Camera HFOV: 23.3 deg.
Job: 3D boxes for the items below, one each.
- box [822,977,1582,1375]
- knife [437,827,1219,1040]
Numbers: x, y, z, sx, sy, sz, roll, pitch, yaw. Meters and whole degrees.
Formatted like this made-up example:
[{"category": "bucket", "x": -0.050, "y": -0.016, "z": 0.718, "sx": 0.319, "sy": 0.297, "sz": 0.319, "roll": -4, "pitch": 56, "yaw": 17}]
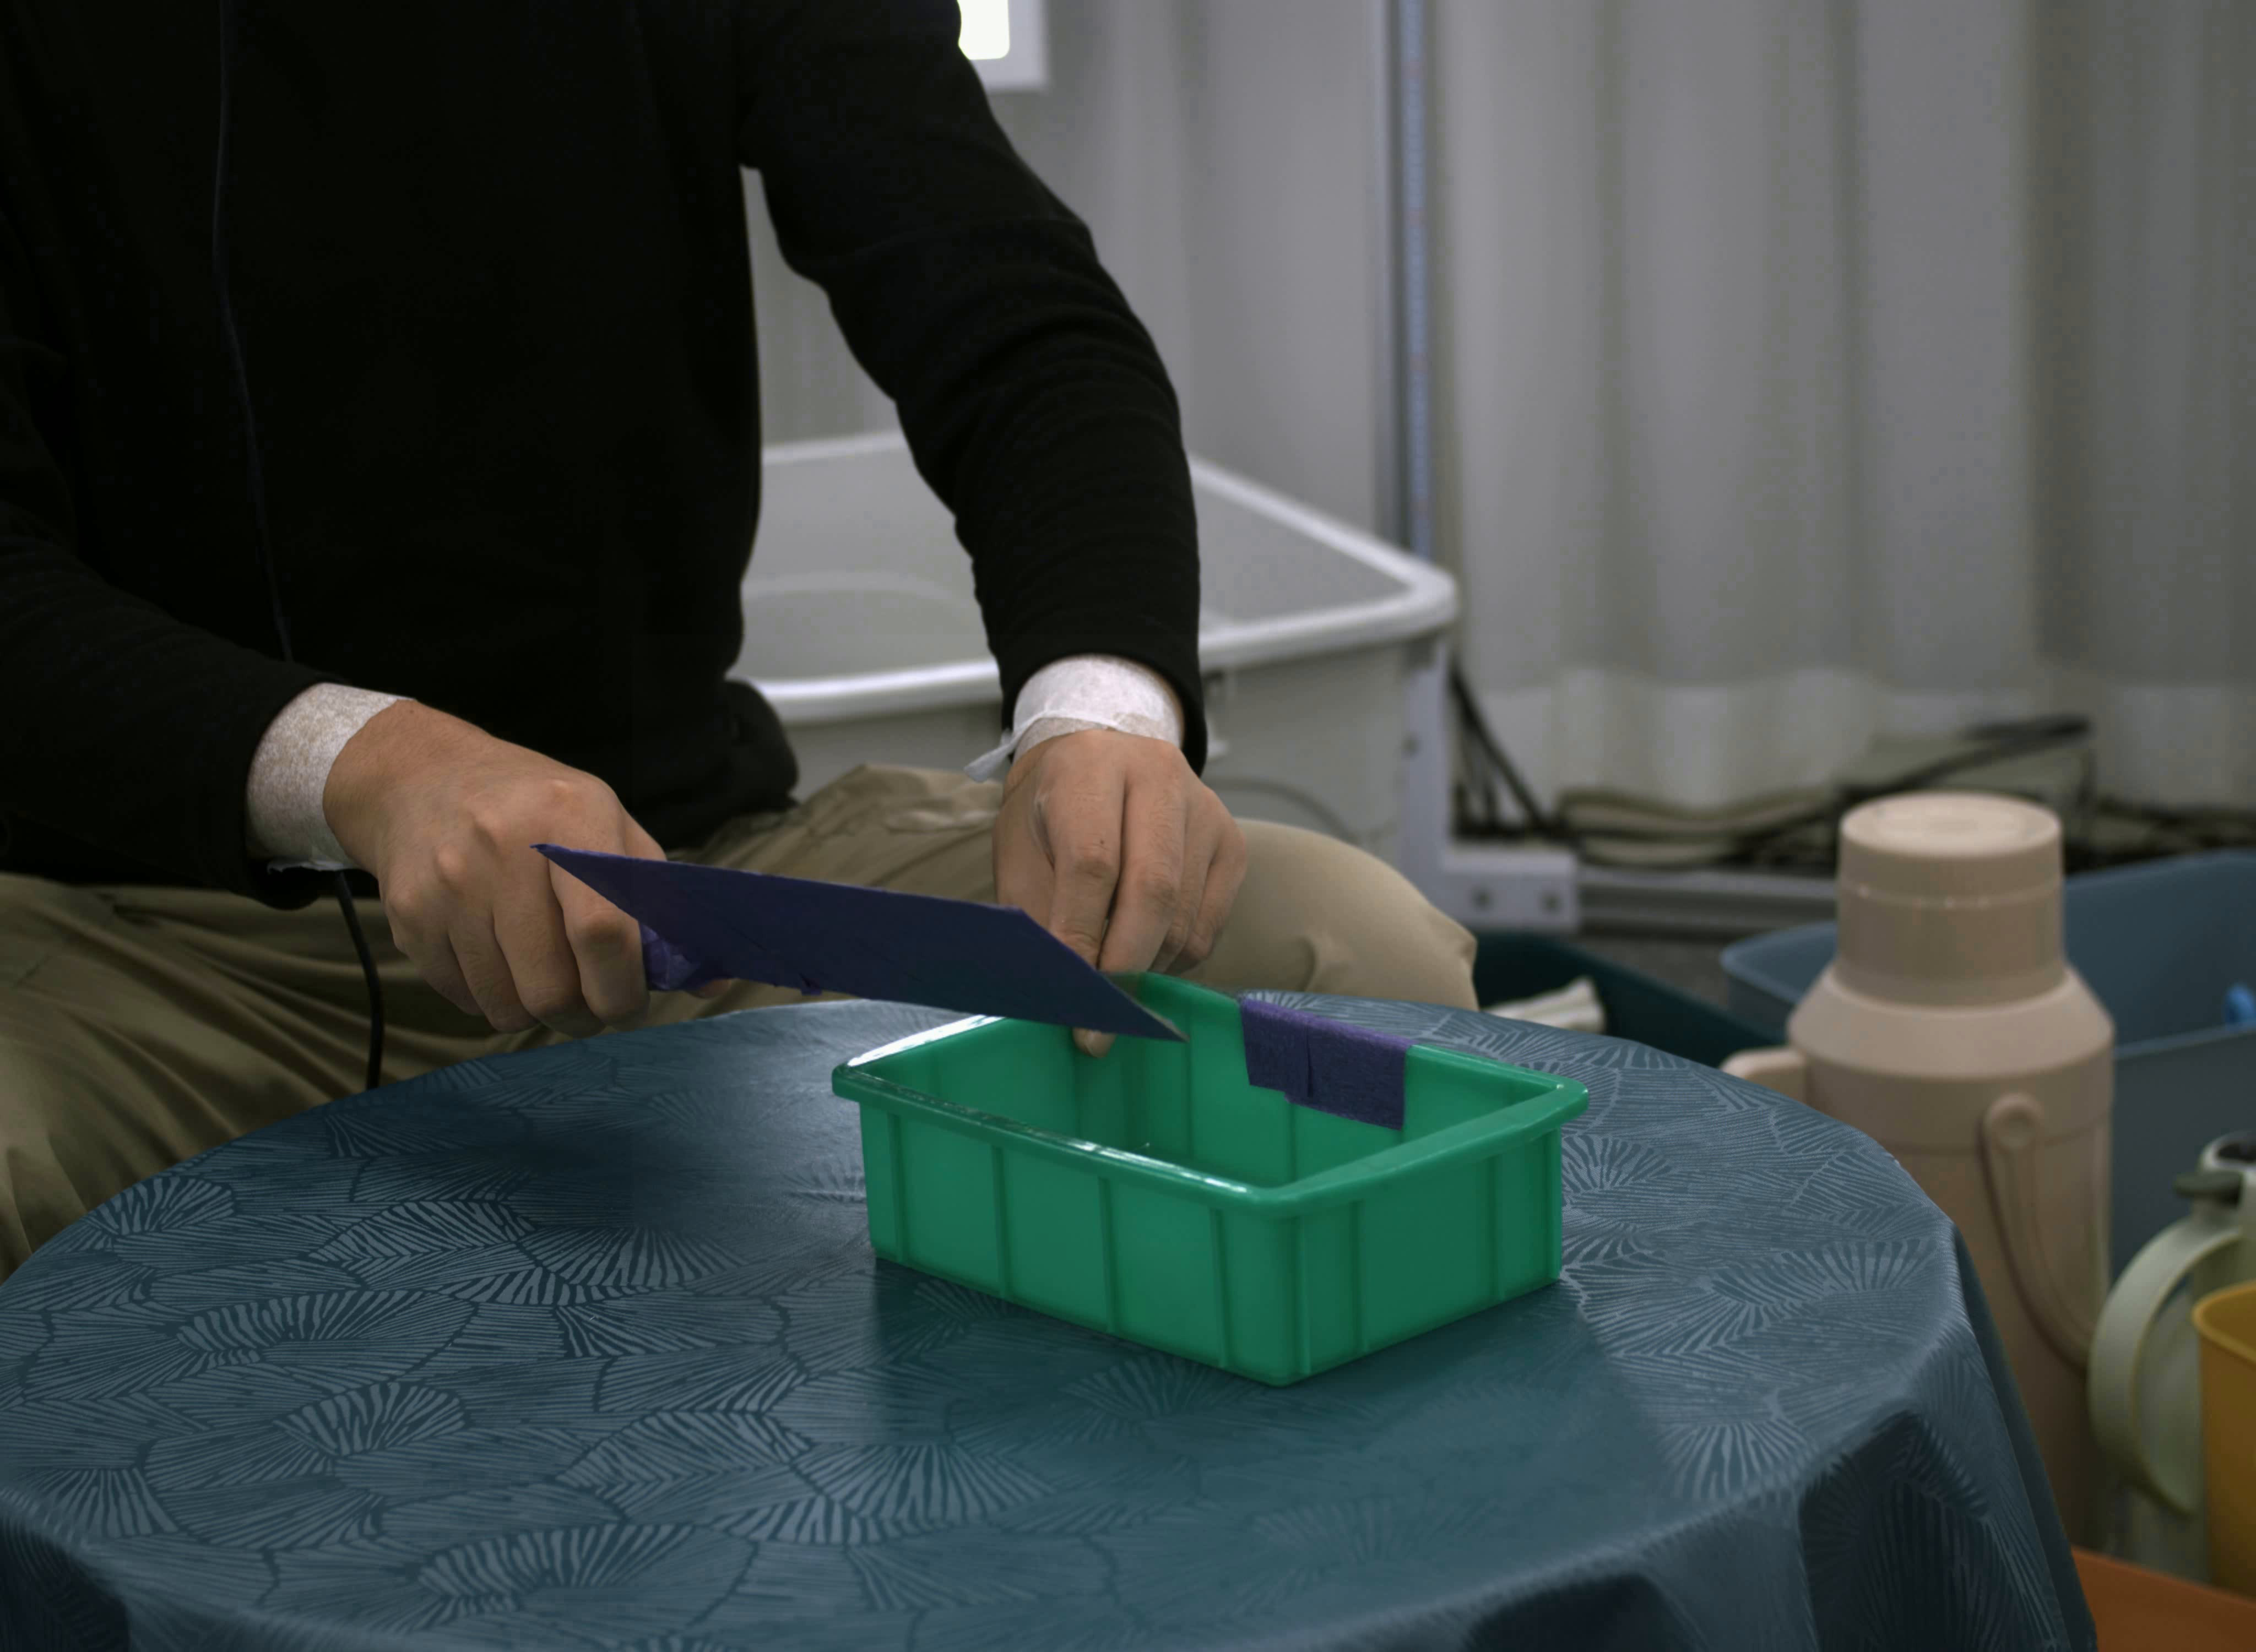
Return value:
[{"category": "box", "x": 0.022, "y": 0.103, "z": 1.633, "sx": 0.138, "sy": 0.065, "sz": 0.211, "roll": -14, "pitch": 17, "yaw": -42}, {"category": "knife", "x": -0.115, "y": 0.026, "z": 1.652, "sx": 0.316, "sy": 0.032, "sz": 0.102, "roll": 4, "pitch": -25, "yaw": 42}]
